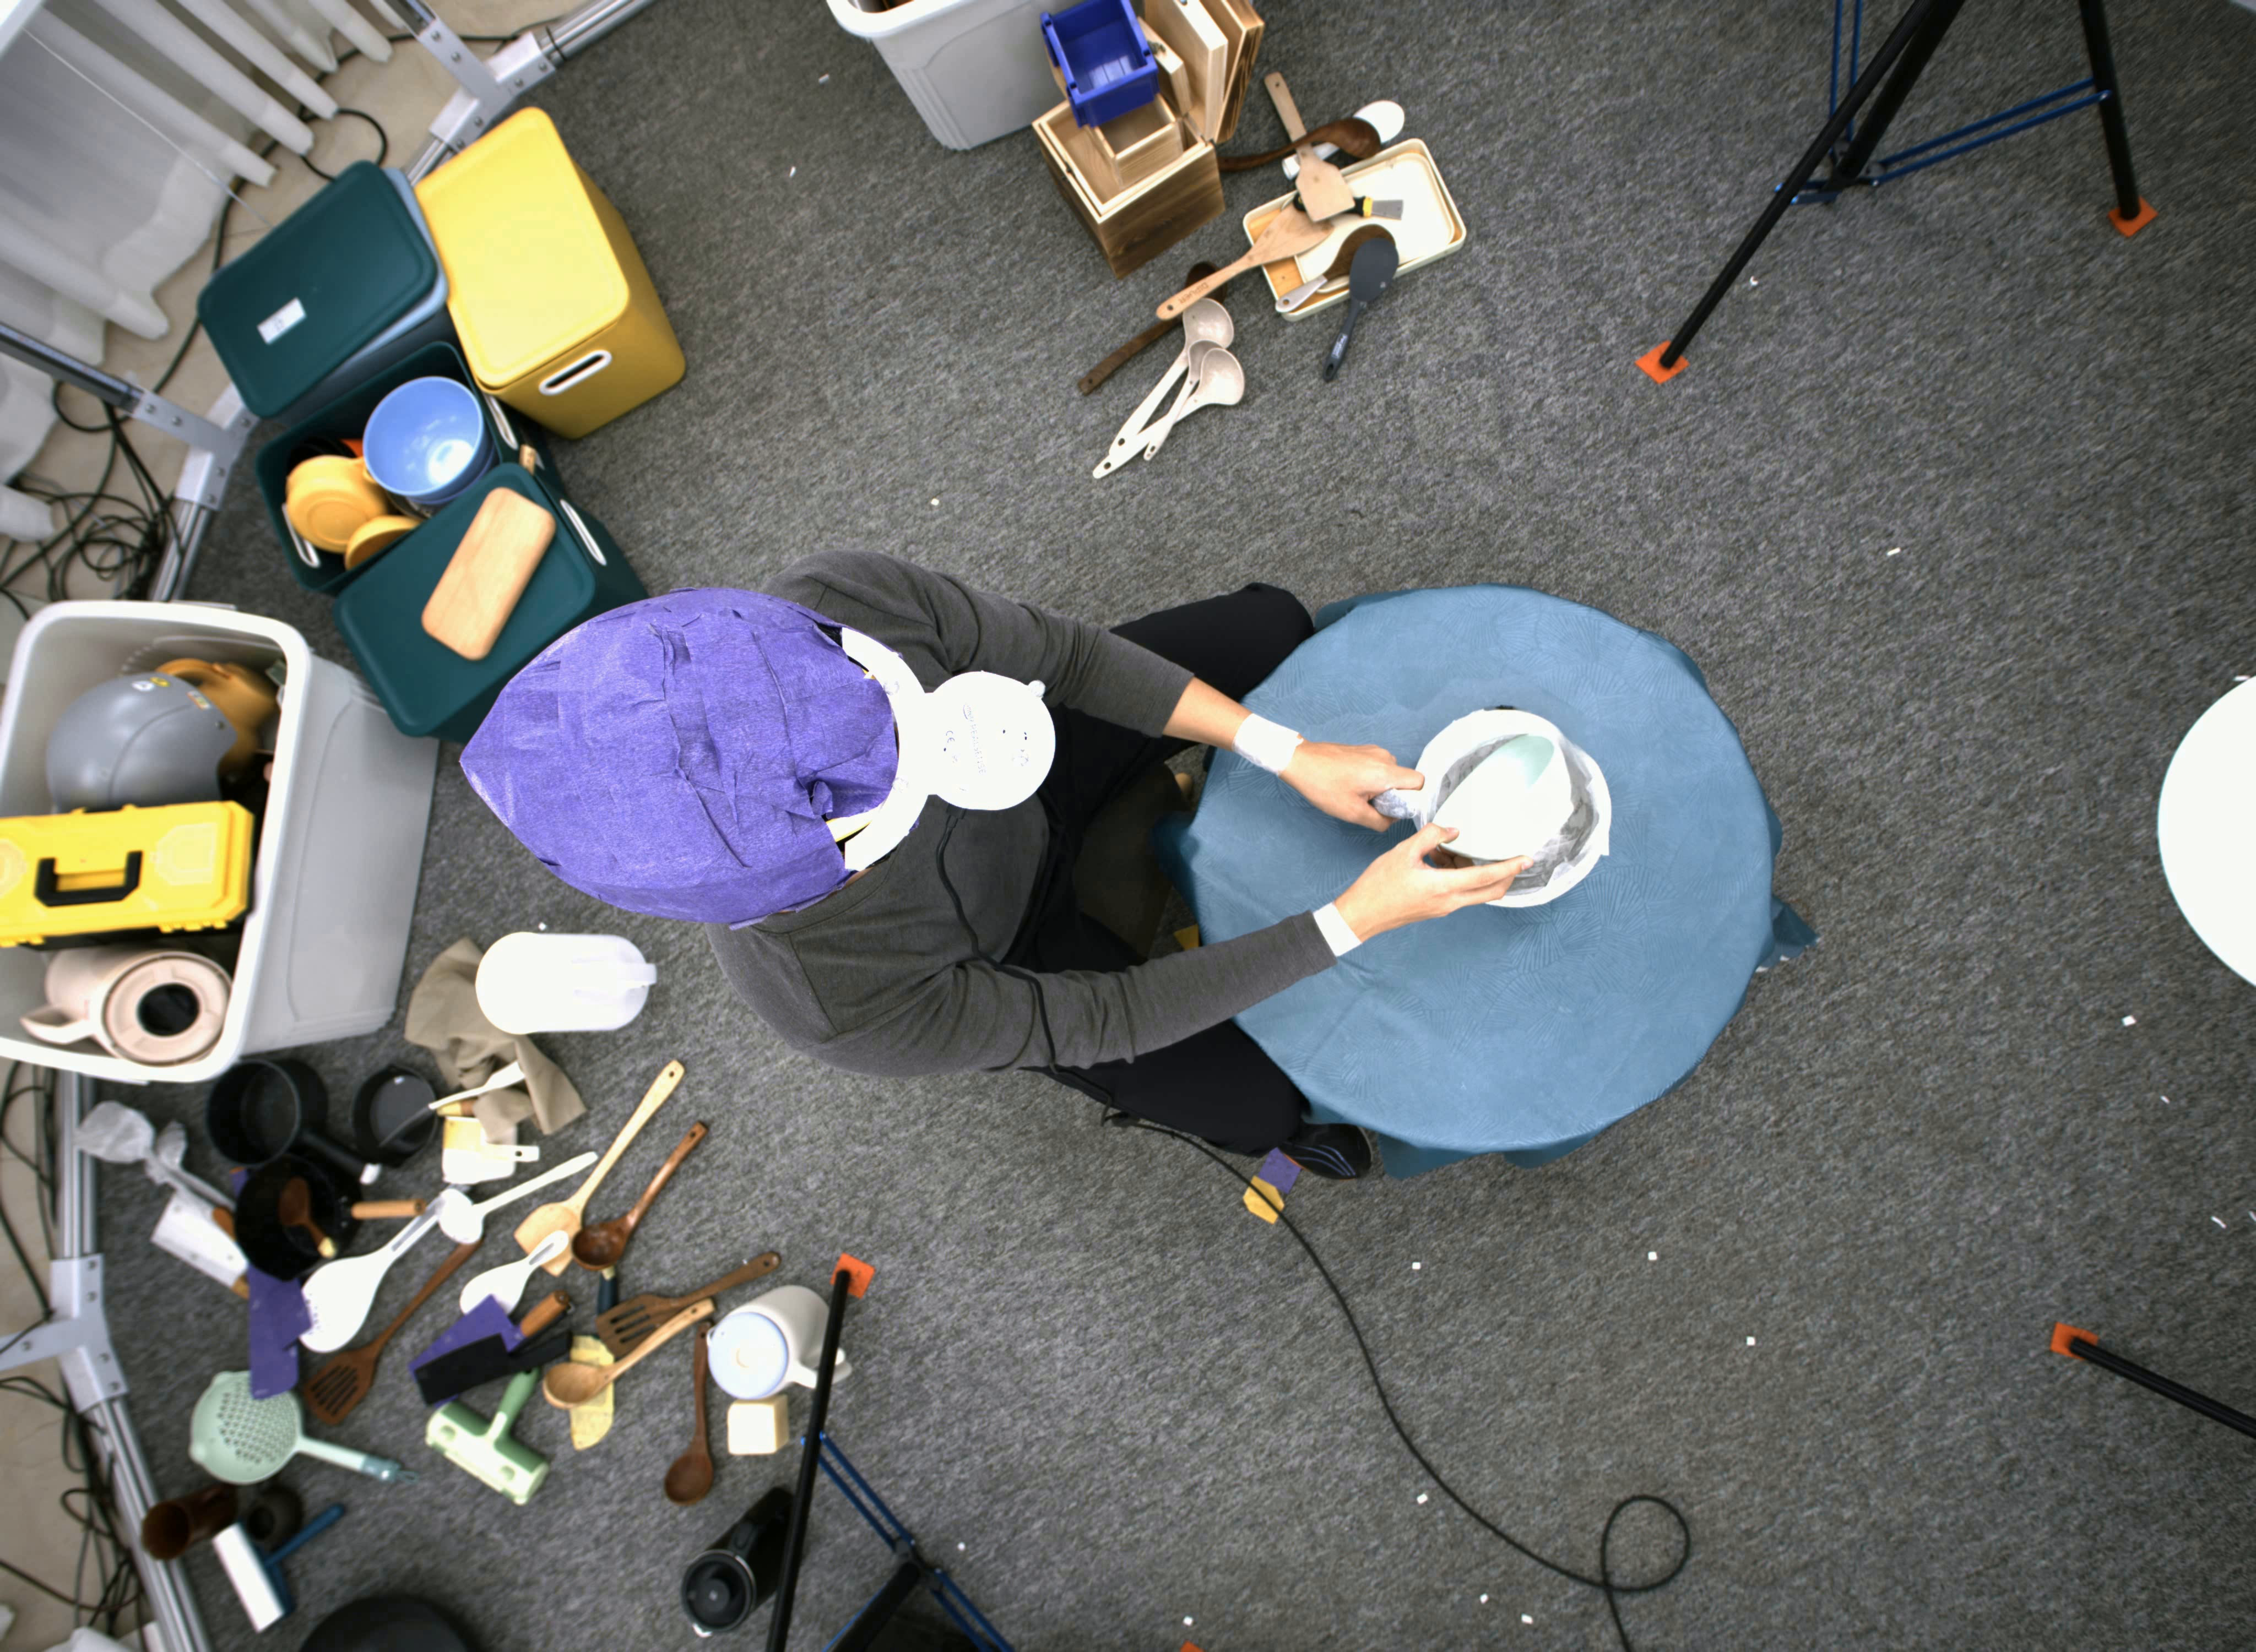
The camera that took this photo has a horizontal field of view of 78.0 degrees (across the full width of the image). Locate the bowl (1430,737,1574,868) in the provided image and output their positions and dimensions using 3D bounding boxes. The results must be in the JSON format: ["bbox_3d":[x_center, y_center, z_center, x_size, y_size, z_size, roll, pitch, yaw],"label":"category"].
[{"bbox_3d":[0.354,-0.015,1.263,0.152,0.150,0.059,-45,102,4],"label":"bowl"}]

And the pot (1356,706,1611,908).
[{"bbox_3d":[0.345,-0.026,1.361,0.234,0.134,0.181,3,106,5],"label":"pot"}]
